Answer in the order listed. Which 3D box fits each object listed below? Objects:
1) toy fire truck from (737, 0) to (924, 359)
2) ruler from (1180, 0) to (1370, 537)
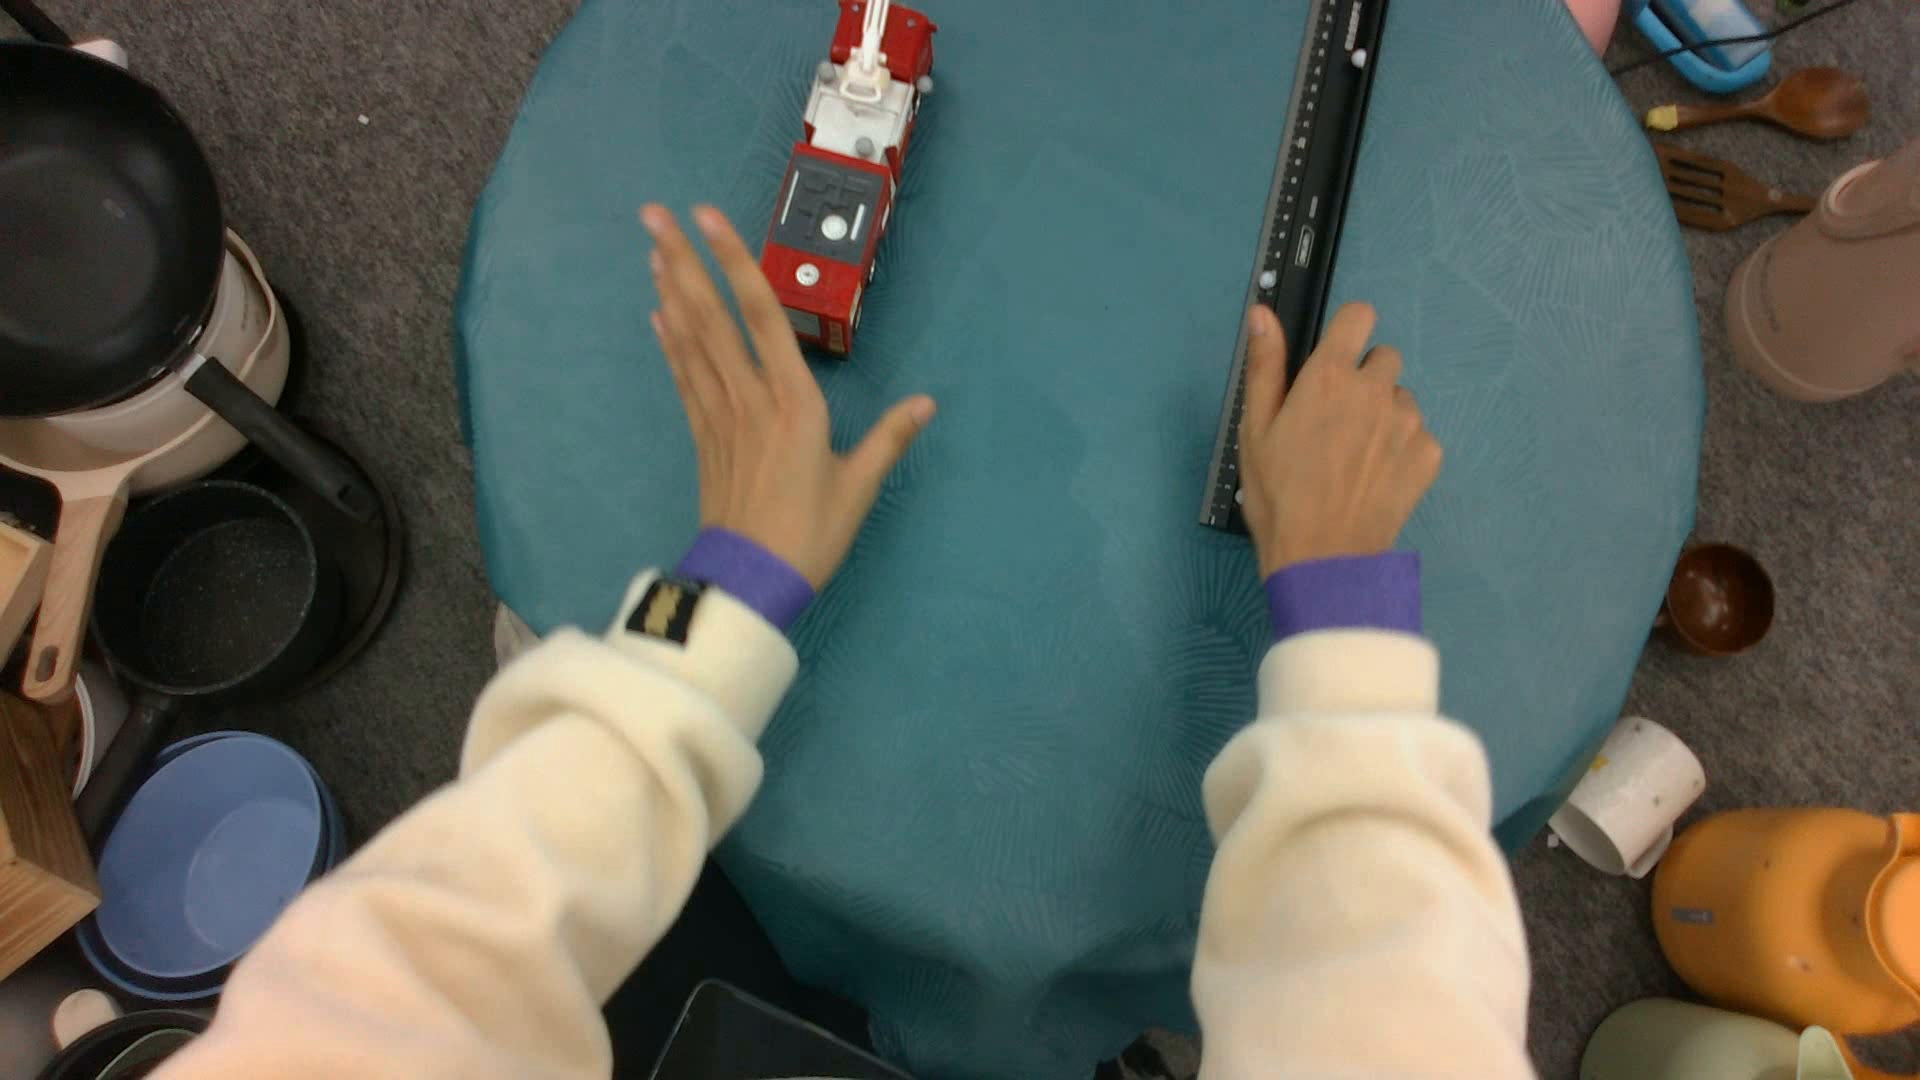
[{"bbox_3d":[-0.061,-0.172,0.651,0.054,0.070,0.168,15,78,0],"label":"toy fire truck"},{"bbox_3d":[0.161,-0.154,0.682,0.039,0.017,0.313,14,77,3],"label":"ruler"}]
